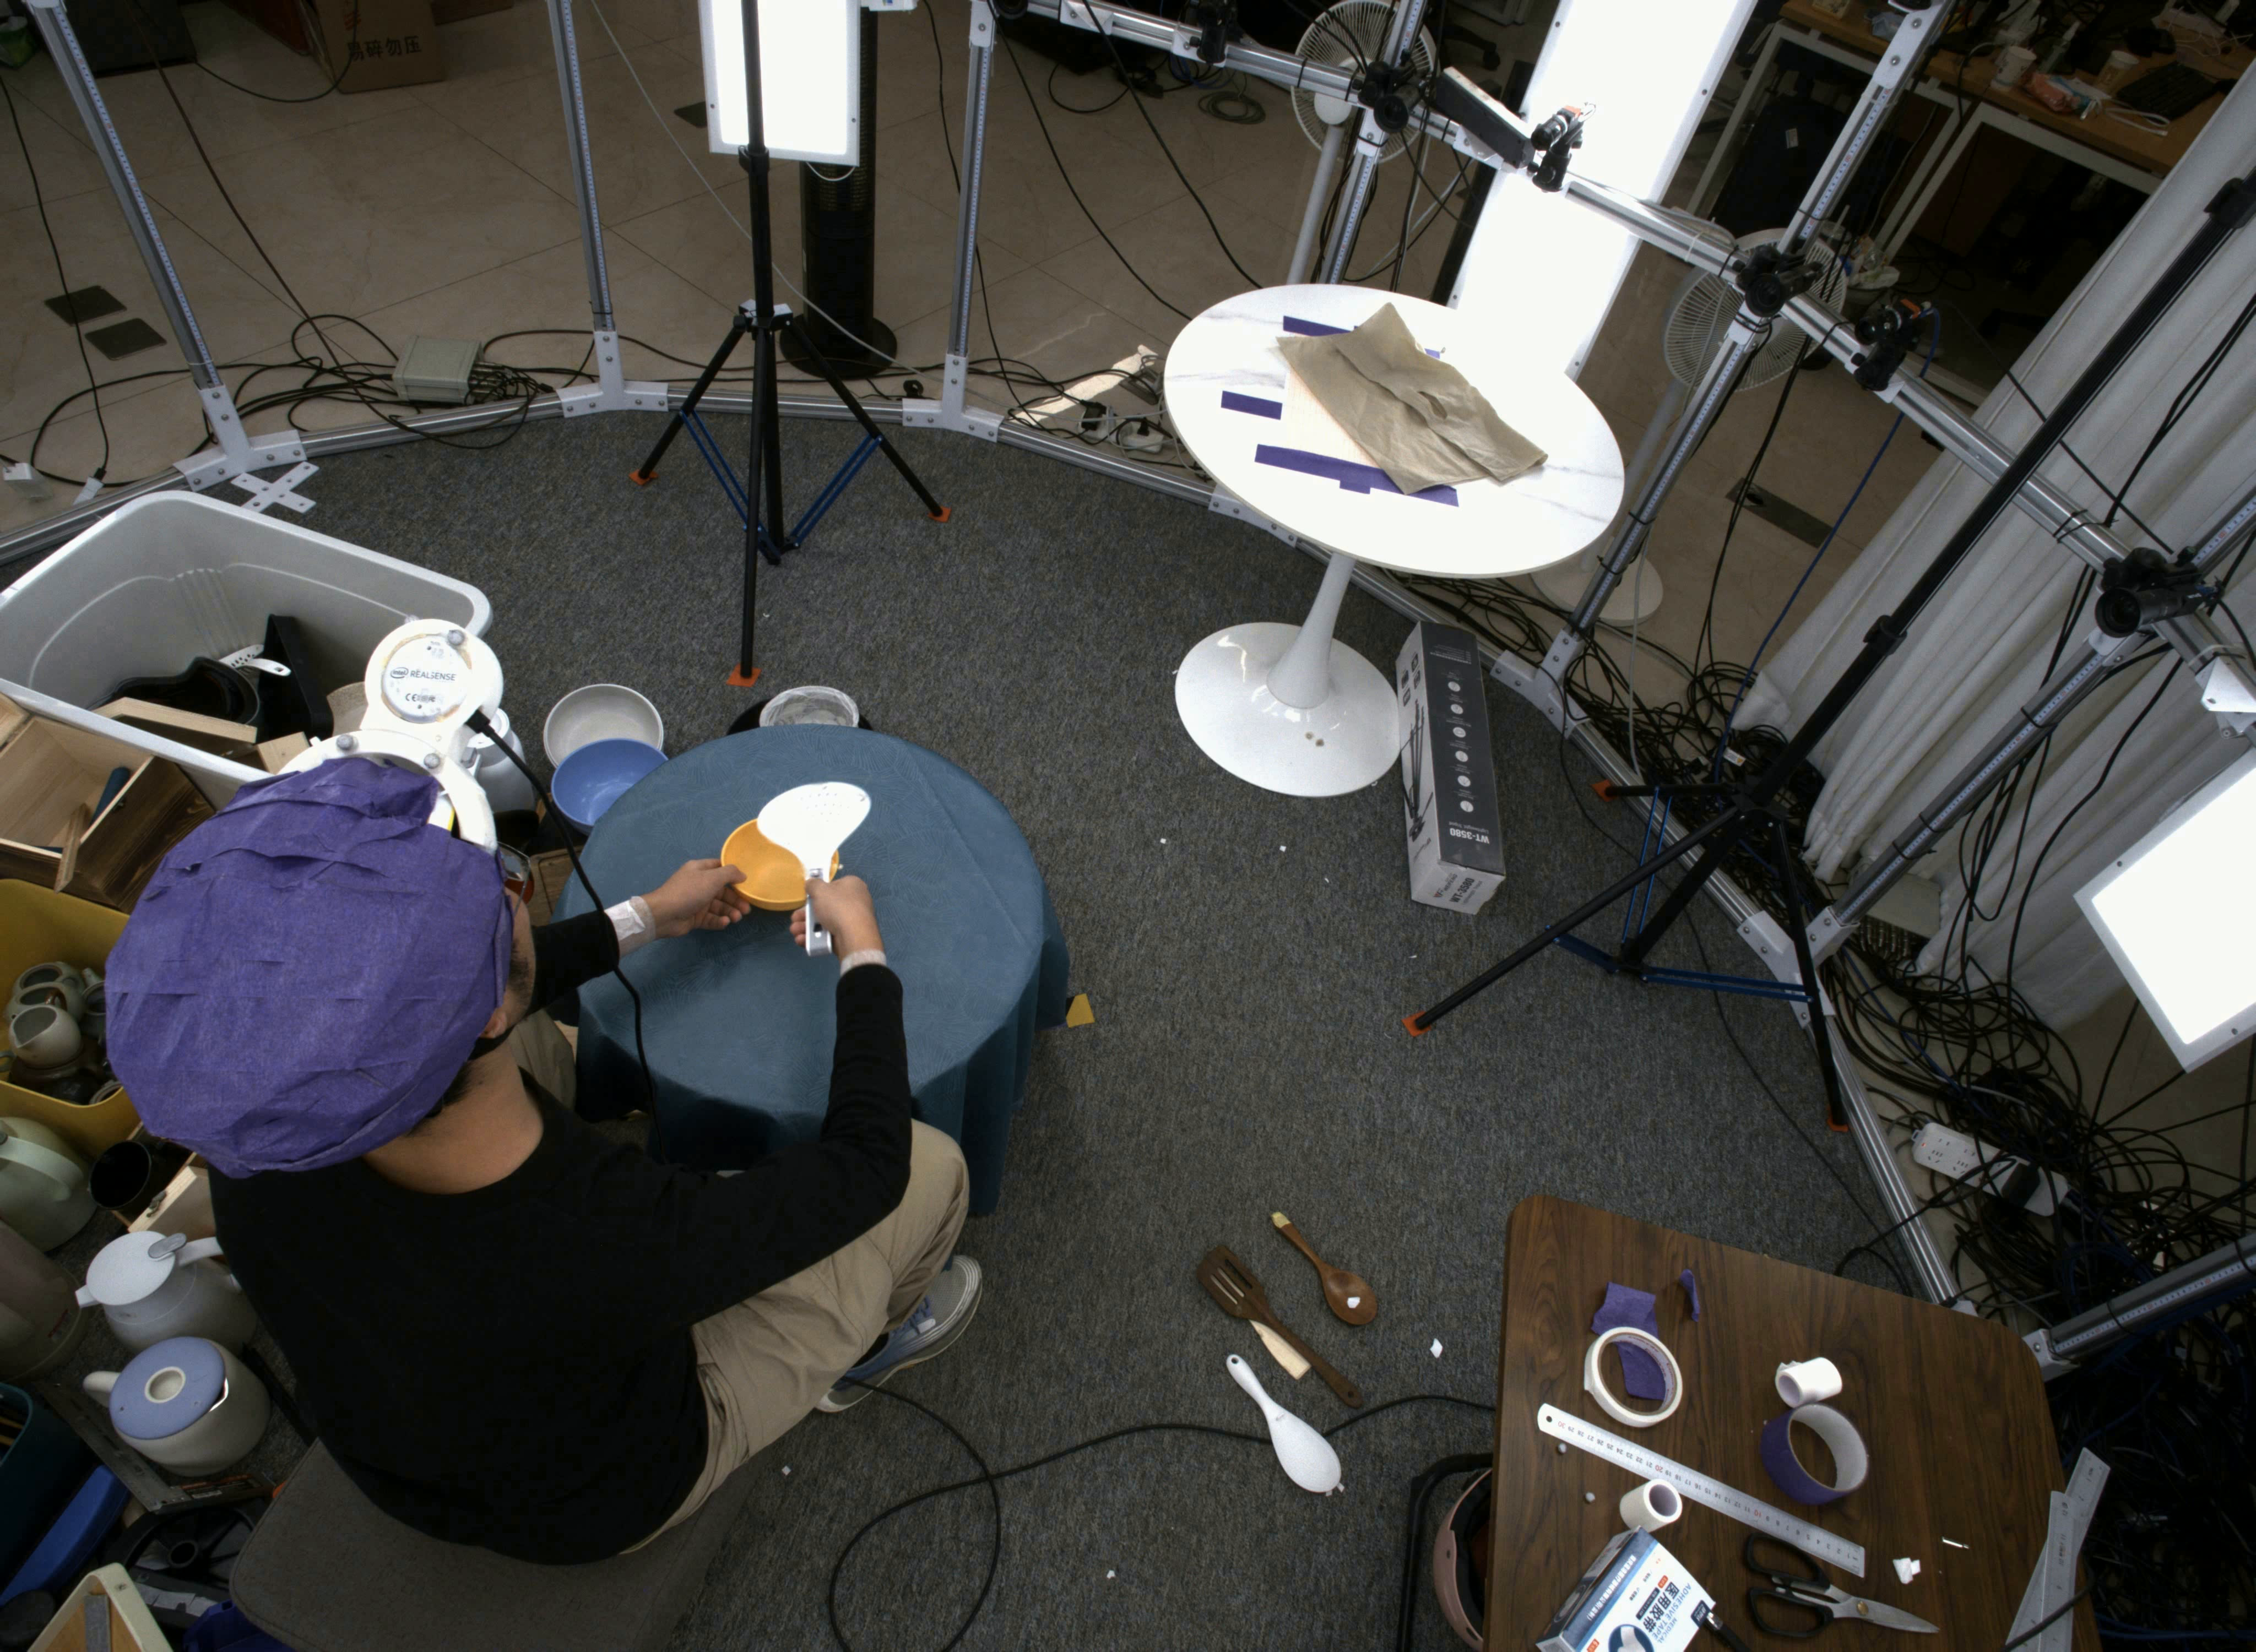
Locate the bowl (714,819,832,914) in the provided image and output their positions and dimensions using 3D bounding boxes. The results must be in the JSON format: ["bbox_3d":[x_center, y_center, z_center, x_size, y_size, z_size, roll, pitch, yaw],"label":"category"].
[{"bbox_3d":[-0.445,0.059,1.630,0.145,0.061,0.142,8,47,-7],"label":"bowl"}]

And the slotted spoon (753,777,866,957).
[{"bbox_3d":[-0.362,0.037,1.486,0.135,0.047,0.339,-8,29,-10],"label":"slotted spoon"}]
